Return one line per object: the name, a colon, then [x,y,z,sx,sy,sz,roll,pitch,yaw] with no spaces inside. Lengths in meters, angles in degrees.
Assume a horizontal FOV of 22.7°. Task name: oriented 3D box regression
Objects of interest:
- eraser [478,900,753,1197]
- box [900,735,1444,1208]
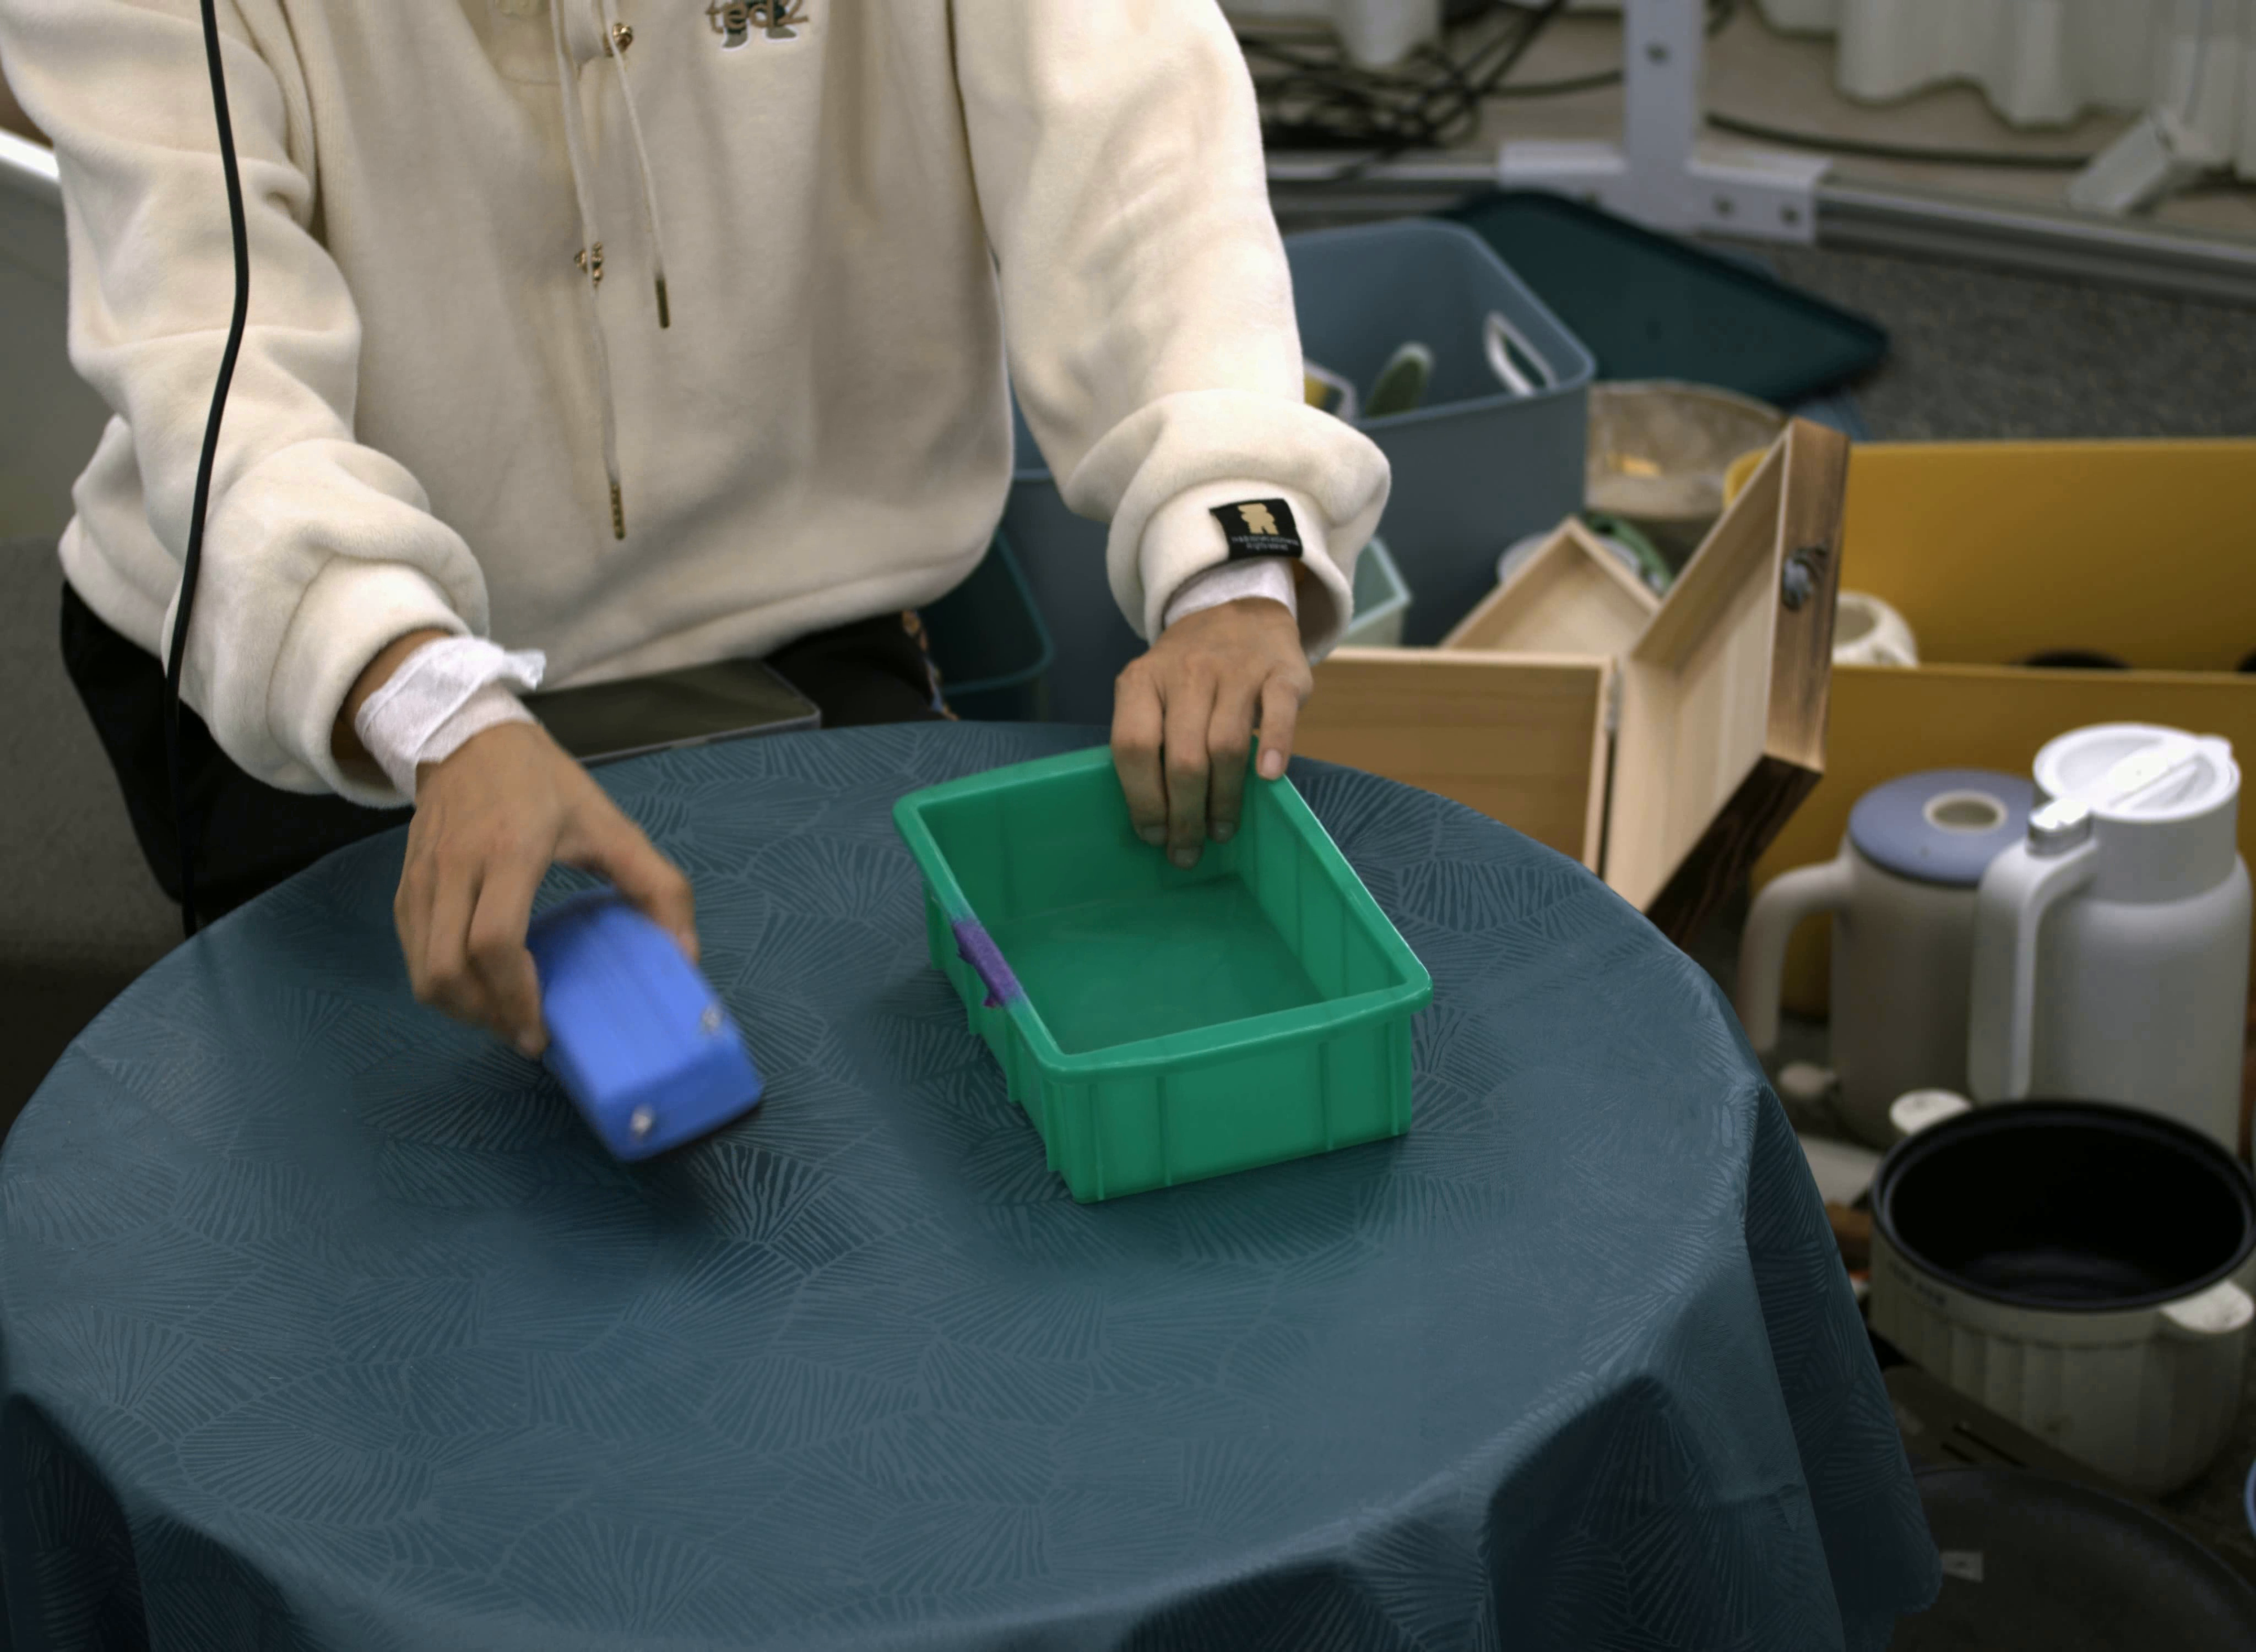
eraser: [-0.176,0.069,1.896,0.054,0.047,0.163,-23,27,-12]
box: [0.014,0.050,1.929,0.139,0.064,0.212,-13,30,-14]
